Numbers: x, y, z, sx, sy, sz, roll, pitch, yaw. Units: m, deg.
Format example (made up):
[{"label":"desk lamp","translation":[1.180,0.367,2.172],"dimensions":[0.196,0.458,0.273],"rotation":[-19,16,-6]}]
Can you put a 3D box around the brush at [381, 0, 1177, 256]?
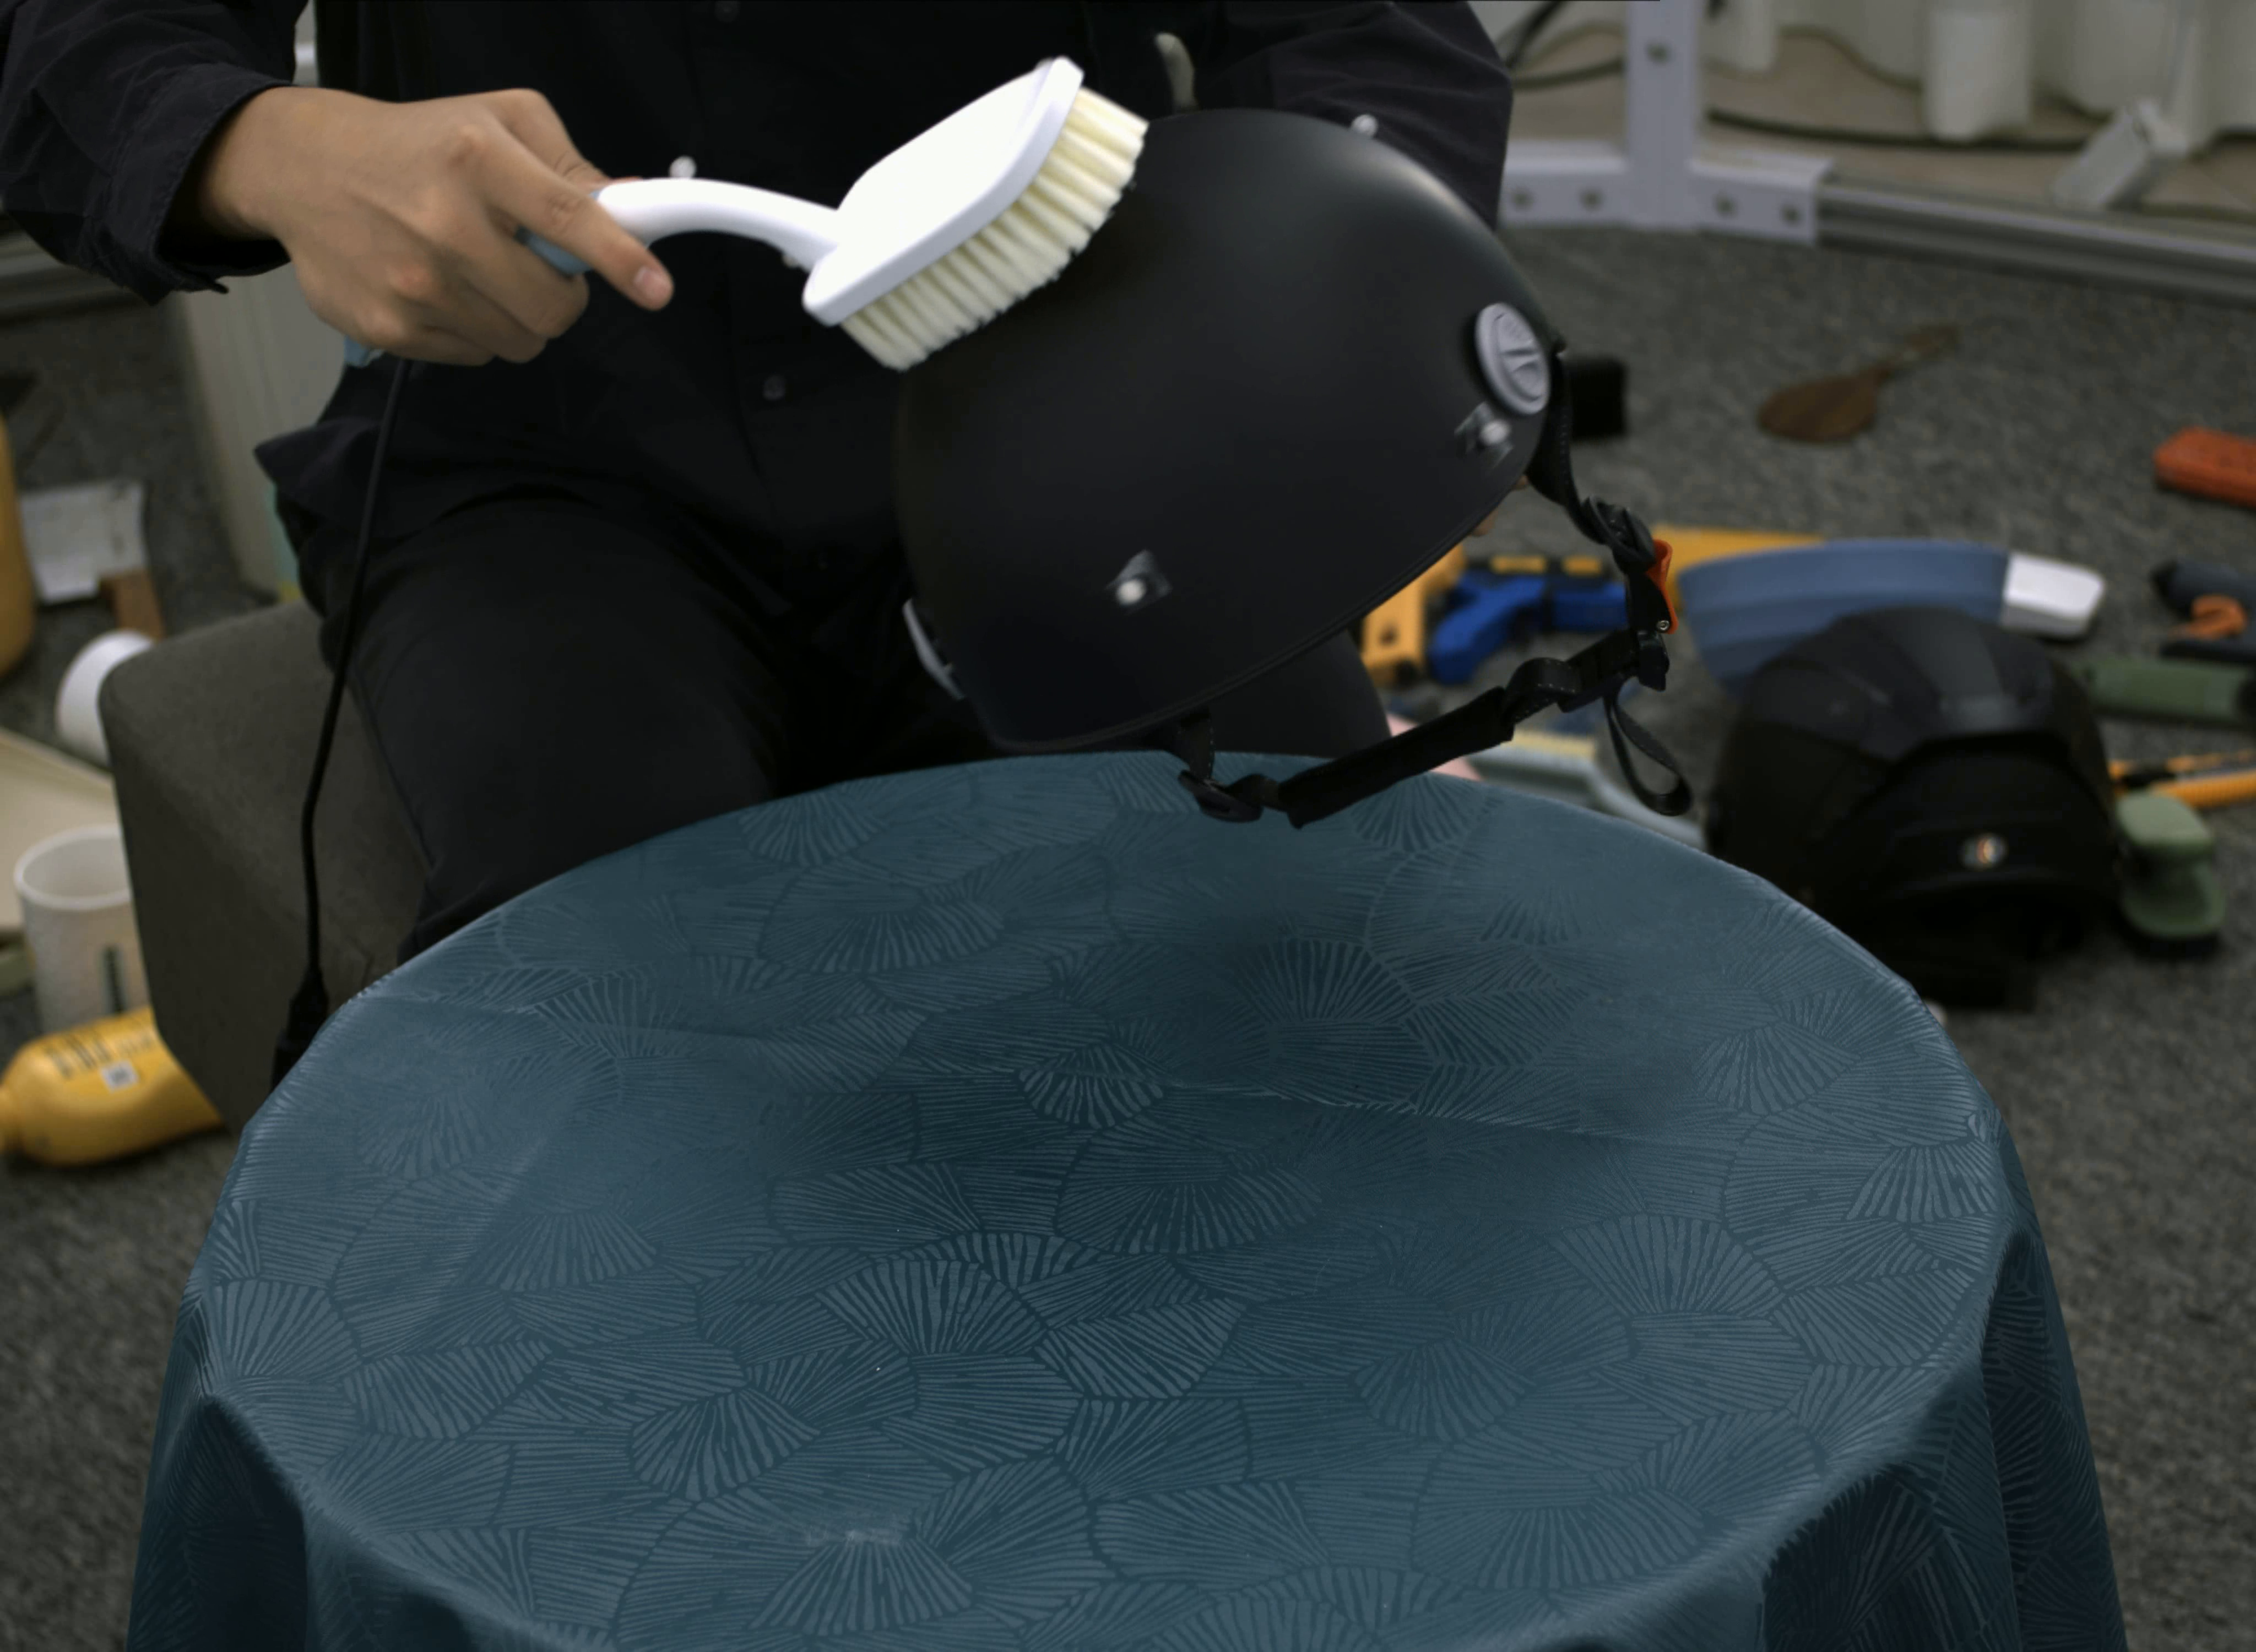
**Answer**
[{"label":"brush","translation":[-0.110,-0.217,1.868],"dimensions":[0.321,0.085,0.084],"rotation":[-13,4,35]}]

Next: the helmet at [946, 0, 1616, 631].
[{"label":"helmet","translation":[0.038,-0.185,1.872],"dimensions":[0.227,0.166,0.277],"rotation":[-27,11,19]}]
